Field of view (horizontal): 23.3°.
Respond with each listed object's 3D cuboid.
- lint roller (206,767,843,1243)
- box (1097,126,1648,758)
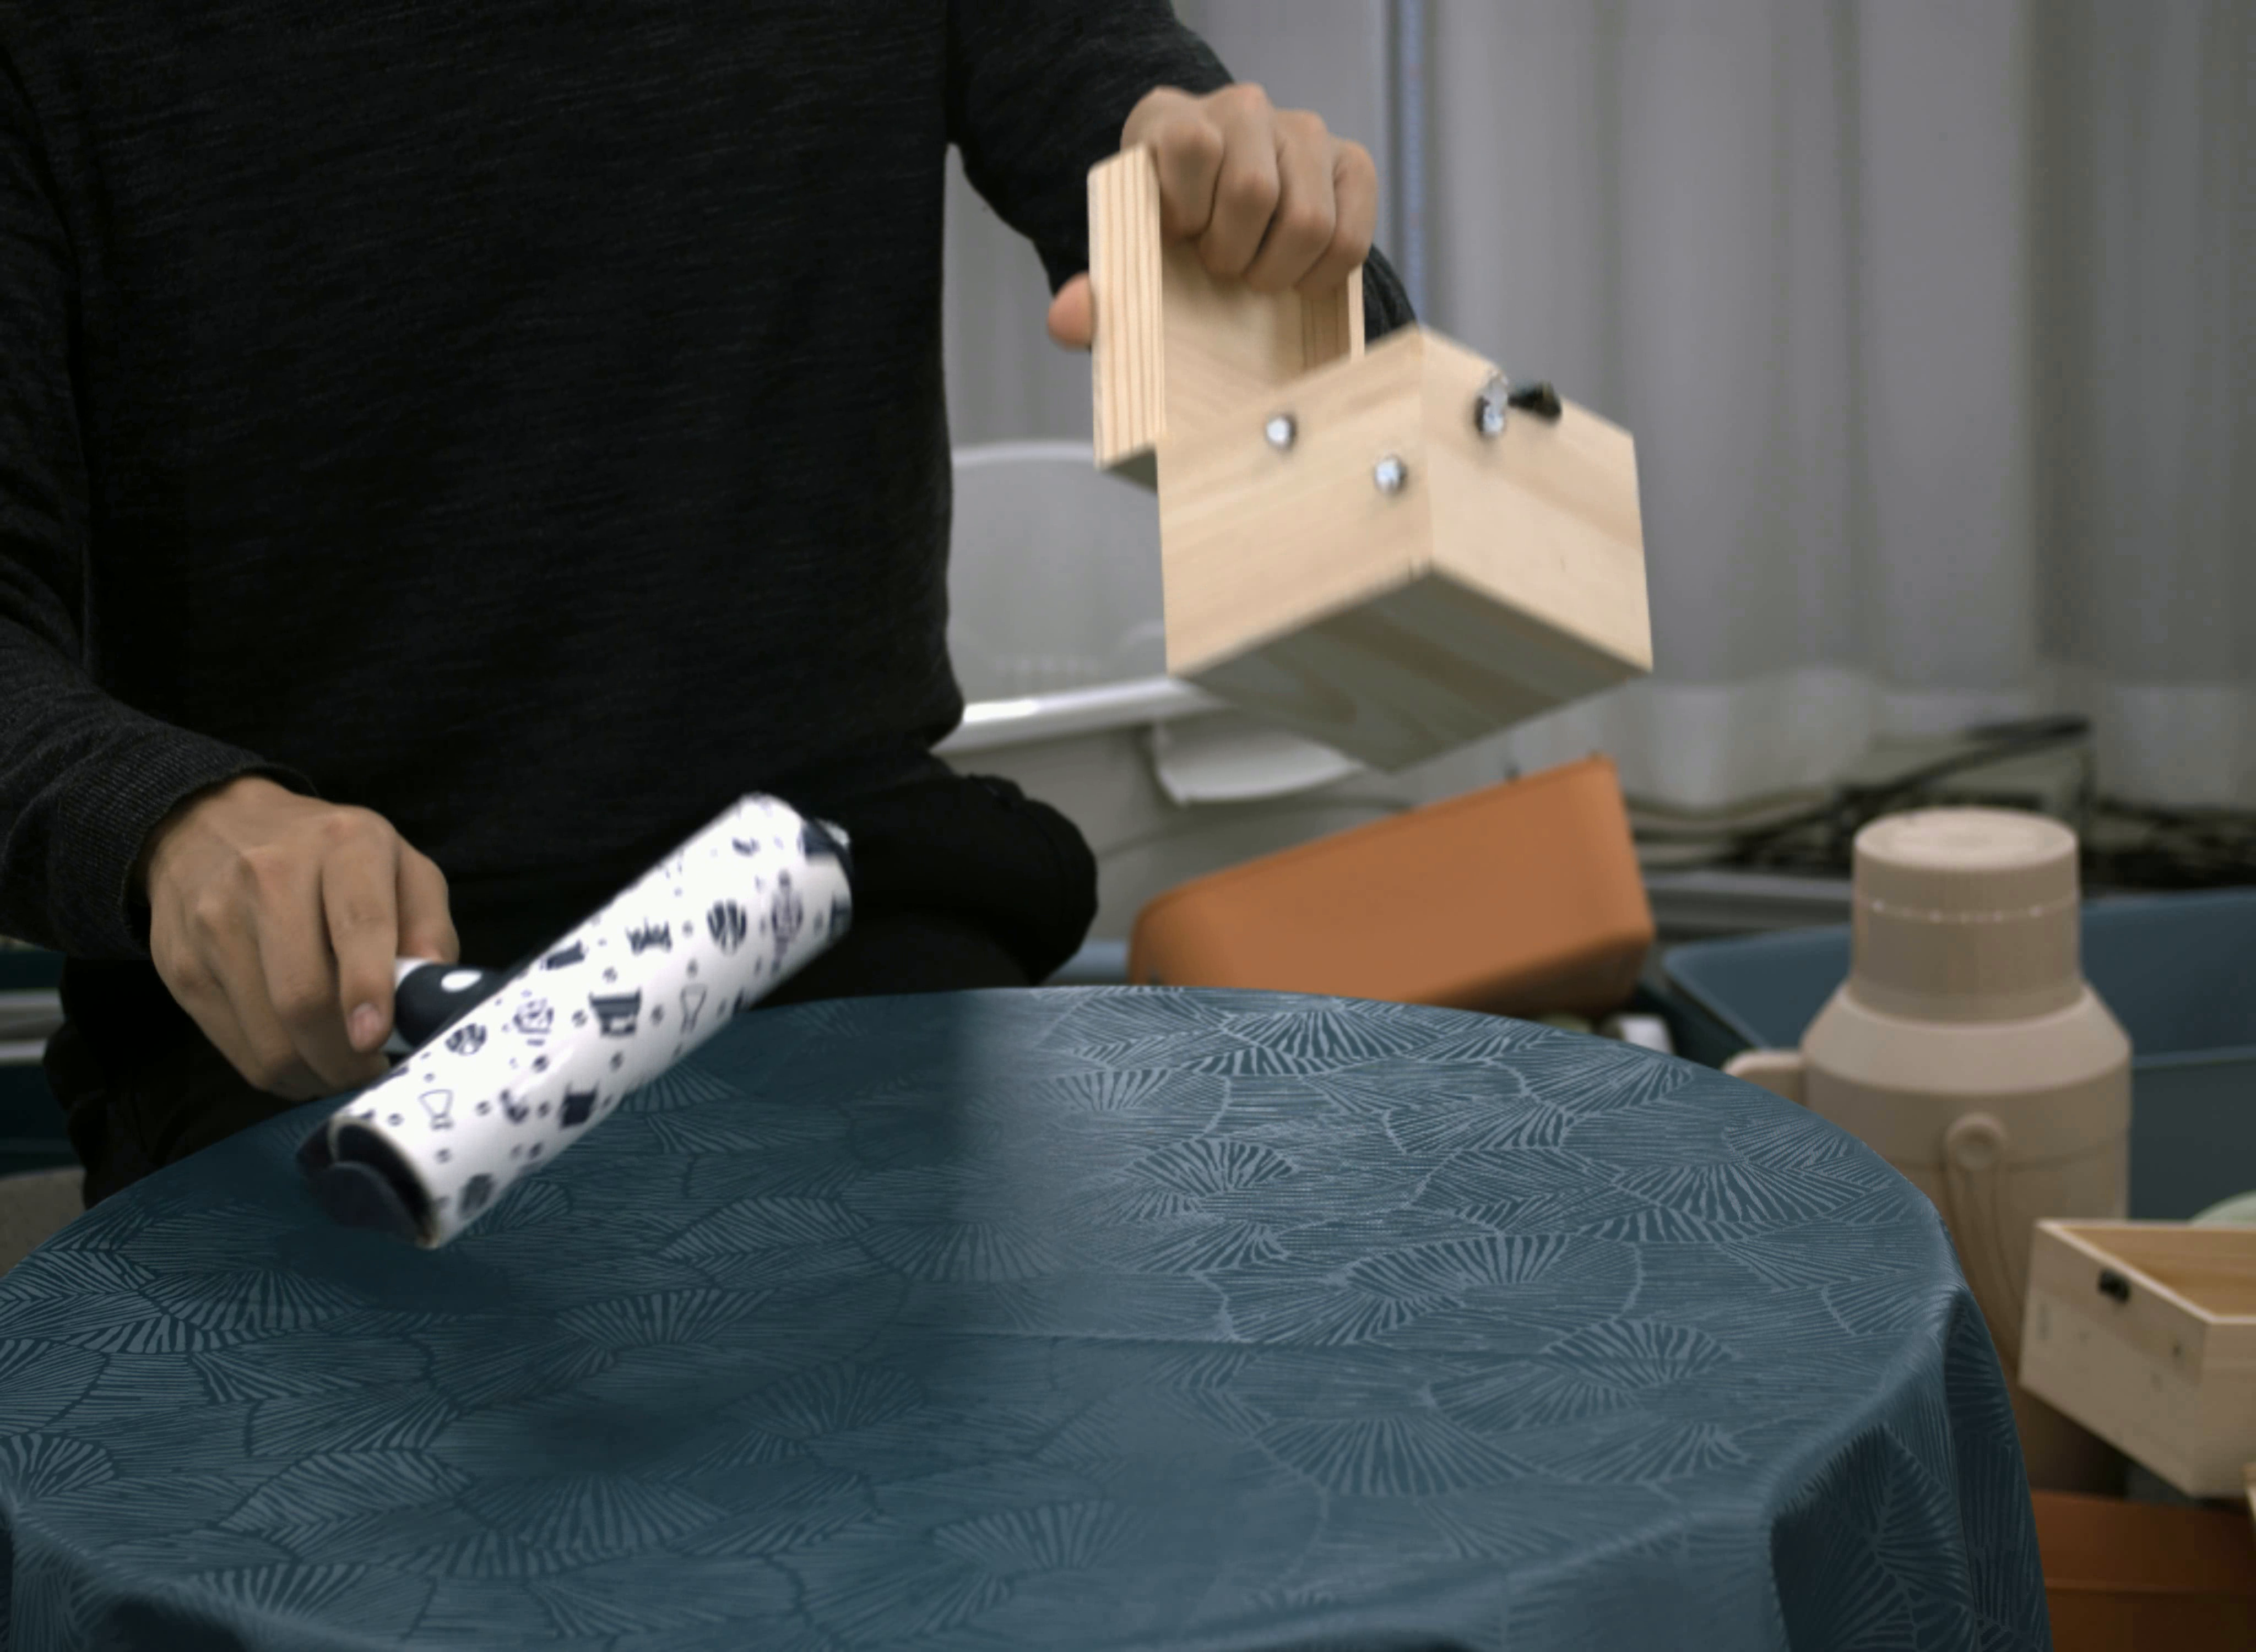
[{"bbox_3d":[-0.211,0.048,1.611,0.248,0.050,0.177,1,38,51],"label":"lint roller"},{"bbox_3d":[0.072,-0.130,1.629,0.133,0.187,0.101,-23,-34,36],"label":"box"}]
